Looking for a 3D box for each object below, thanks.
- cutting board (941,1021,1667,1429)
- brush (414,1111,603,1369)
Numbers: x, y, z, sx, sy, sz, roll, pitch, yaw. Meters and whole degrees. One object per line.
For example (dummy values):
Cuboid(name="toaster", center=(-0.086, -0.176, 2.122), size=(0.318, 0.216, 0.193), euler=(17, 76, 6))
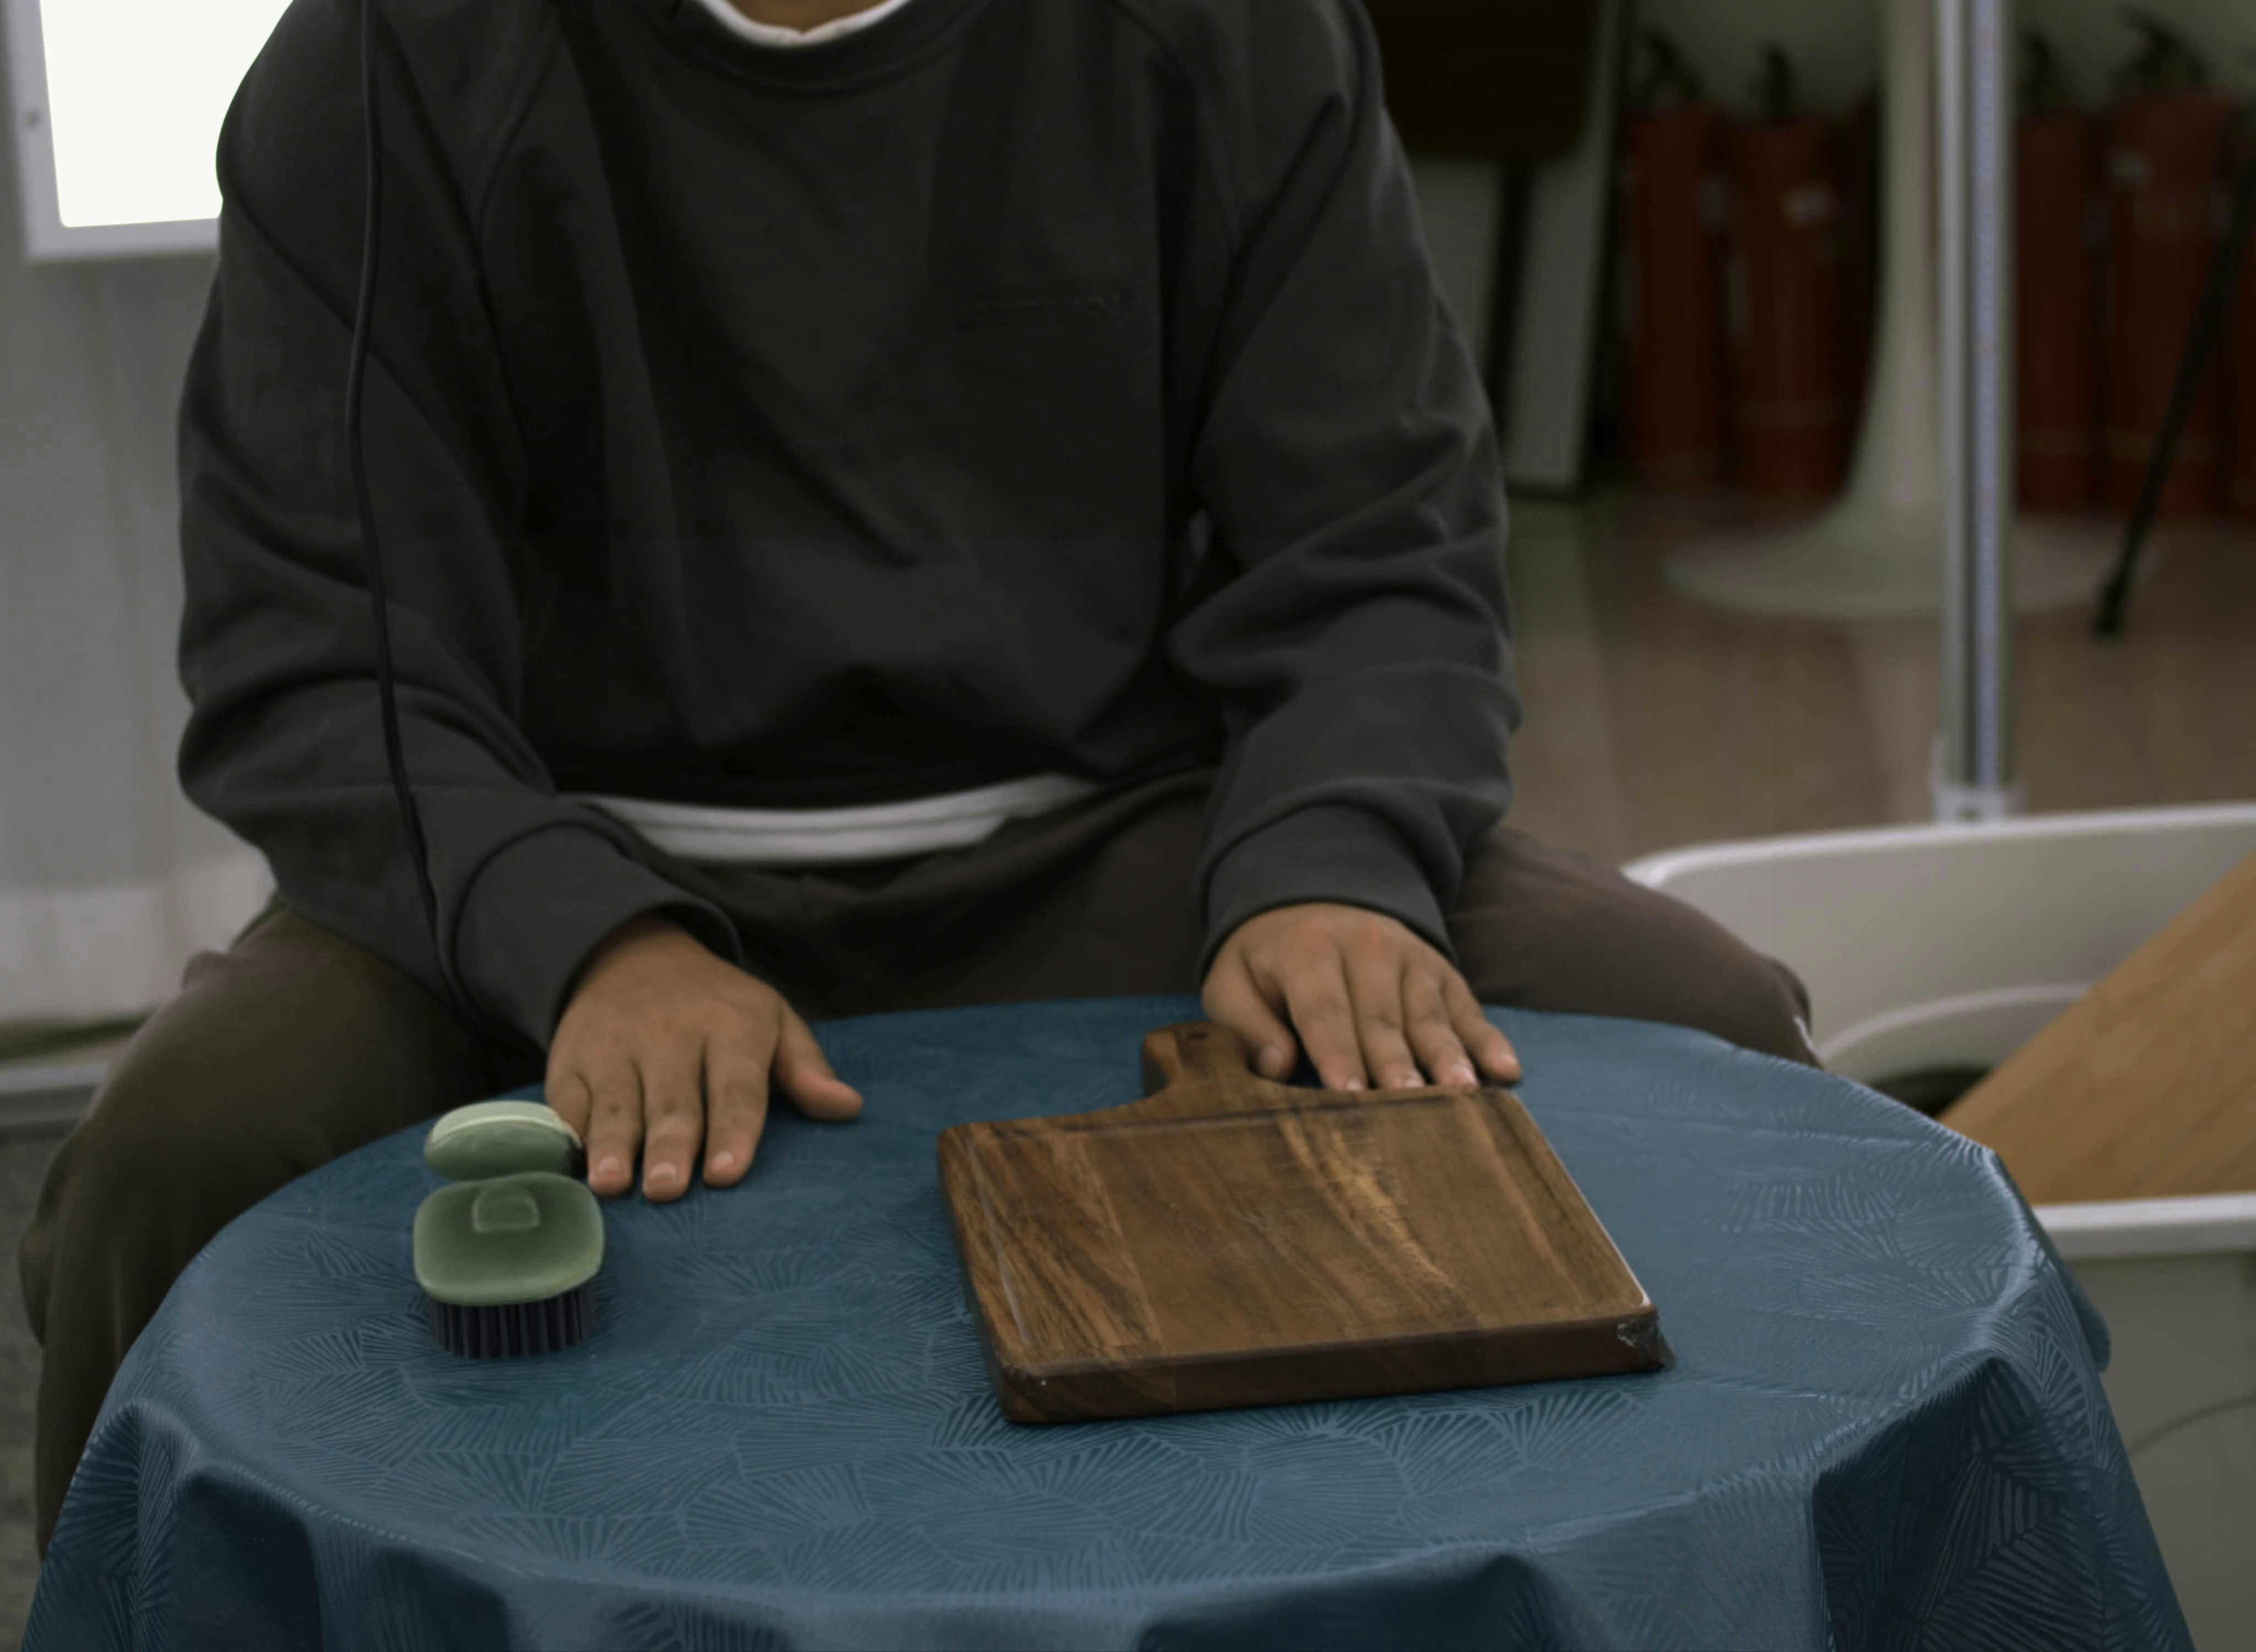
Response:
Cuboid(name="cutting board", center=(0.043, 0.118, 1.730), size=(0.198, 0.023, 0.353), euler=(-5, 13, -5))
Cuboid(name="brush", center=(-0.194, 0.127, 1.696), size=(0.058, 0.077, 0.123), euler=(-5, 0, -7))
